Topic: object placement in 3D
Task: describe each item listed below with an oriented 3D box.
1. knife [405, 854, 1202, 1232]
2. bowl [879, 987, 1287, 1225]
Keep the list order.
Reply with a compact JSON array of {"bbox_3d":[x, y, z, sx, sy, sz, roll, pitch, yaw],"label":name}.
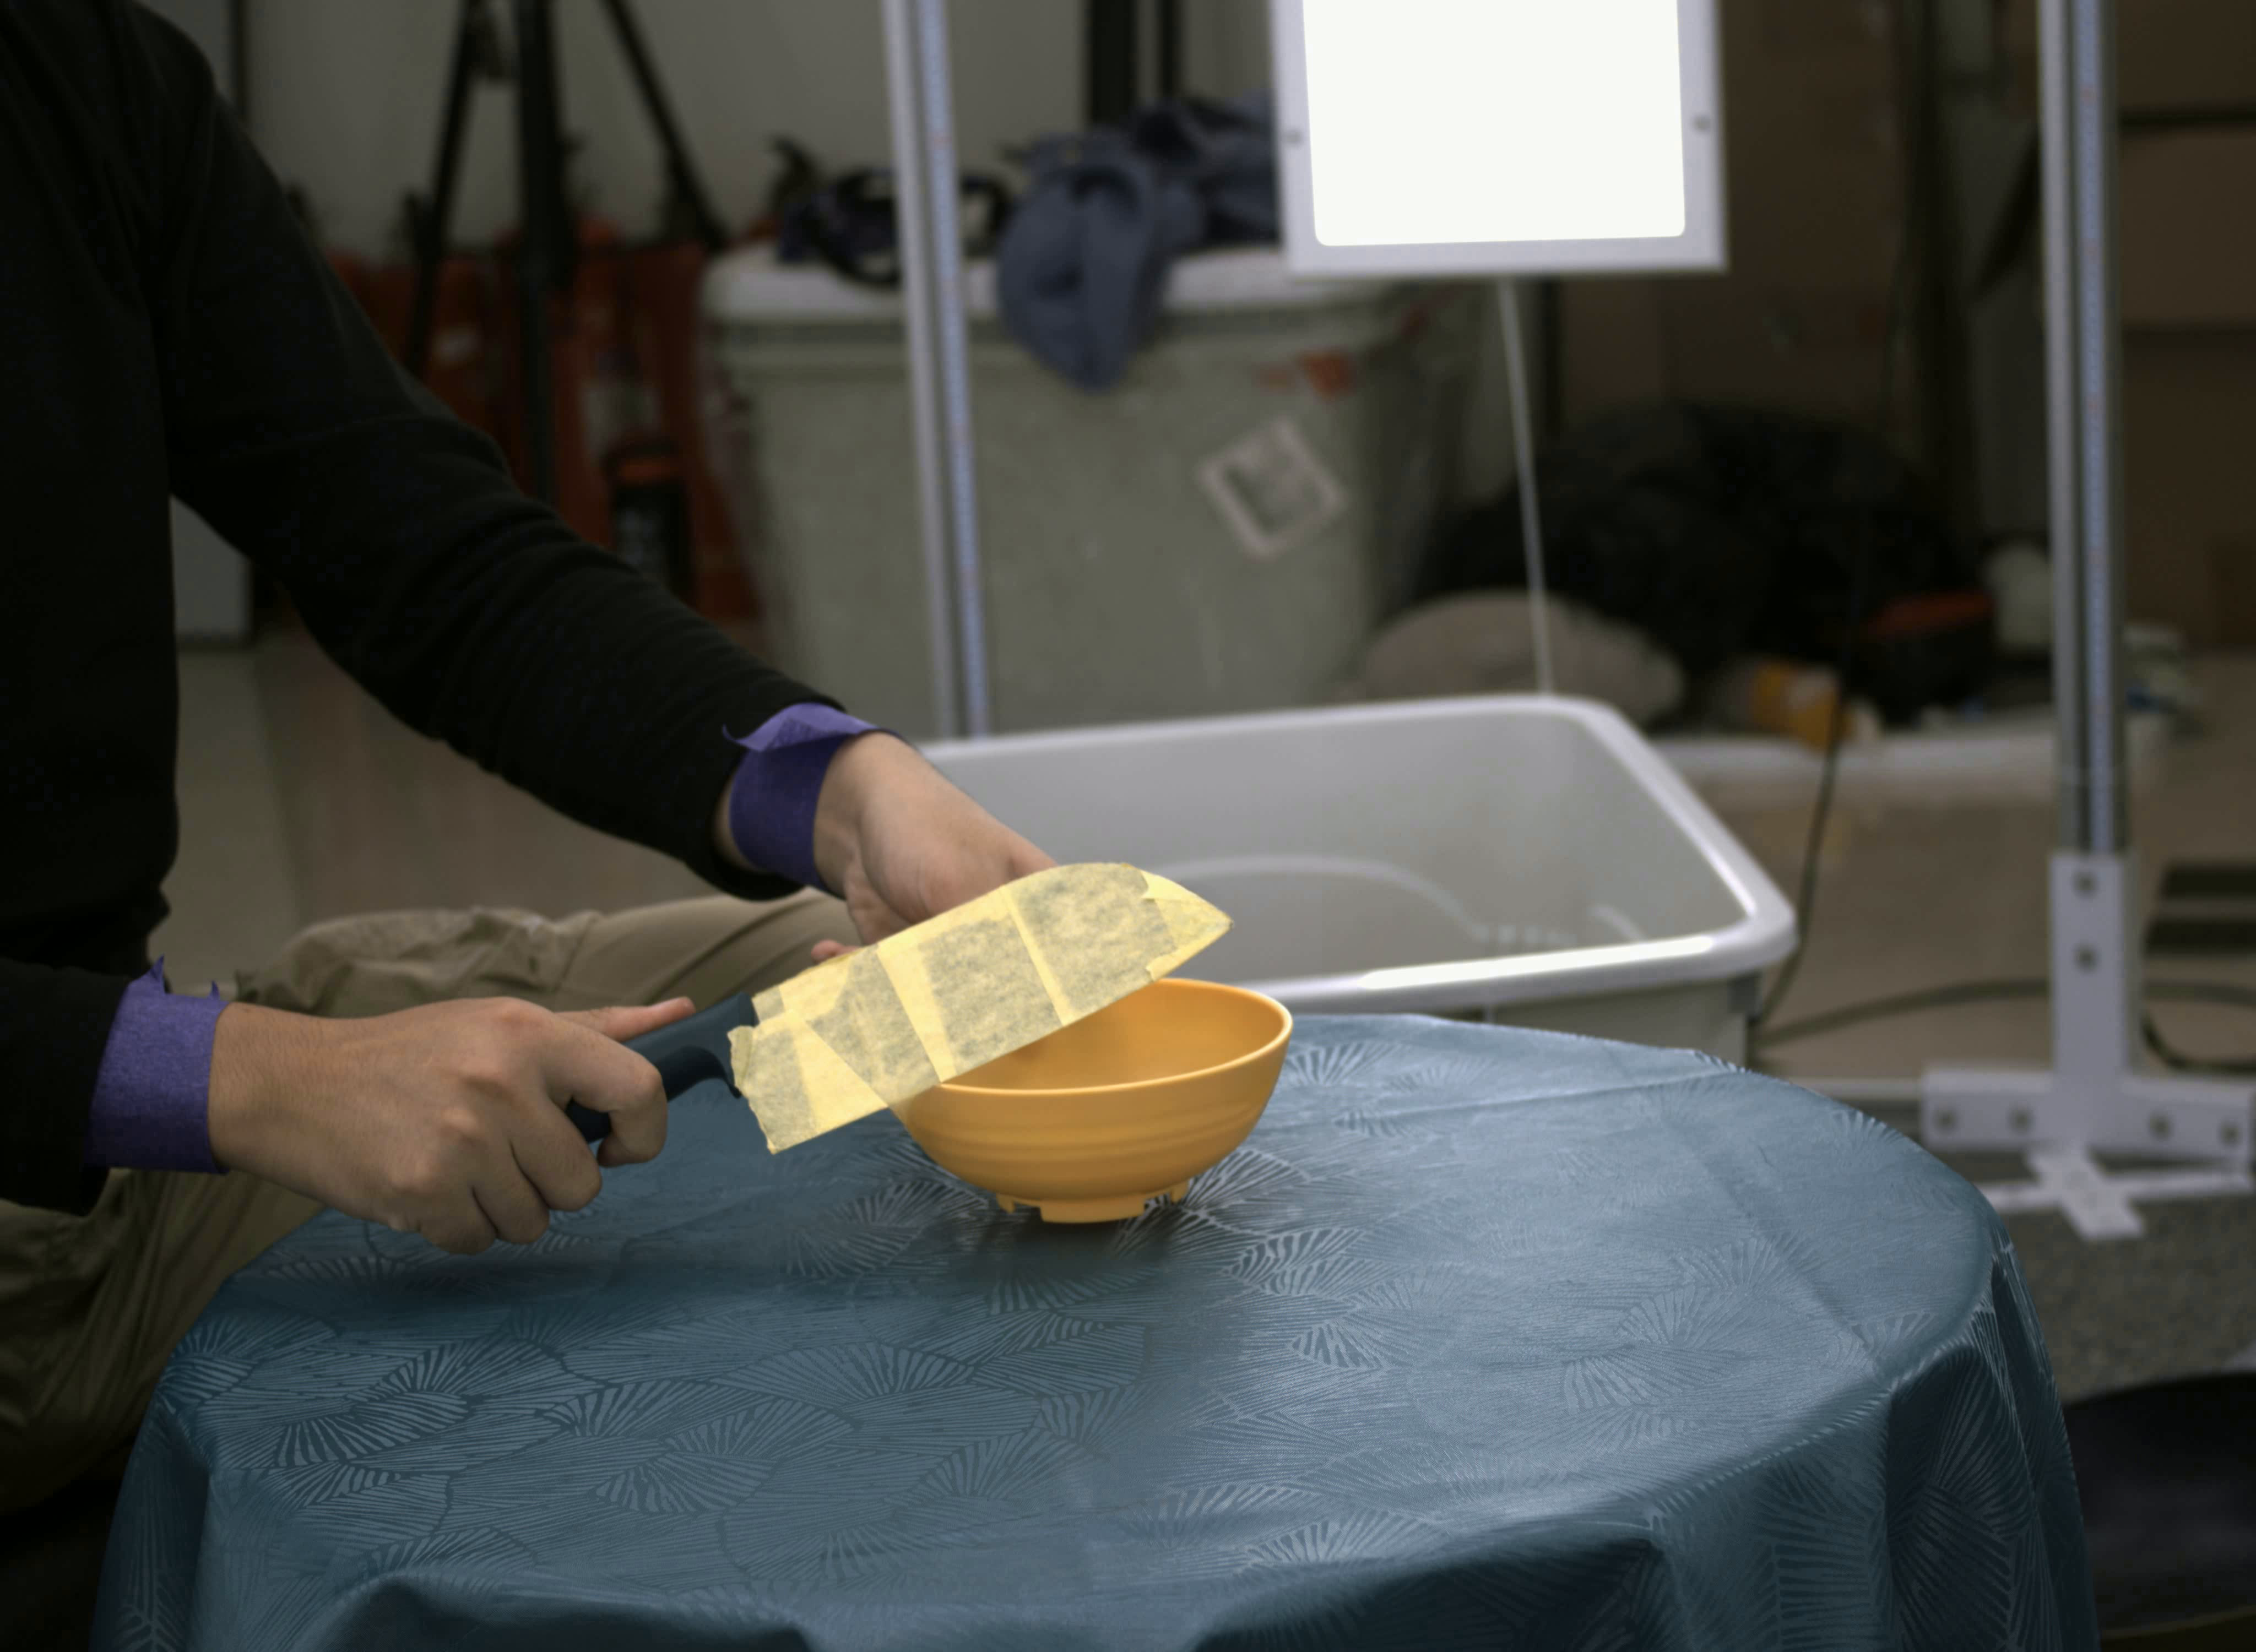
[{"bbox_3d":[-0.108,0.077,1.857,0.289,0.027,0.081,-24,42,3],"label":"knife"},{"bbox_3d":[-0.016,0.099,1.883,0.145,0.060,0.145,-3,12,-1],"label":"bowl"}]
